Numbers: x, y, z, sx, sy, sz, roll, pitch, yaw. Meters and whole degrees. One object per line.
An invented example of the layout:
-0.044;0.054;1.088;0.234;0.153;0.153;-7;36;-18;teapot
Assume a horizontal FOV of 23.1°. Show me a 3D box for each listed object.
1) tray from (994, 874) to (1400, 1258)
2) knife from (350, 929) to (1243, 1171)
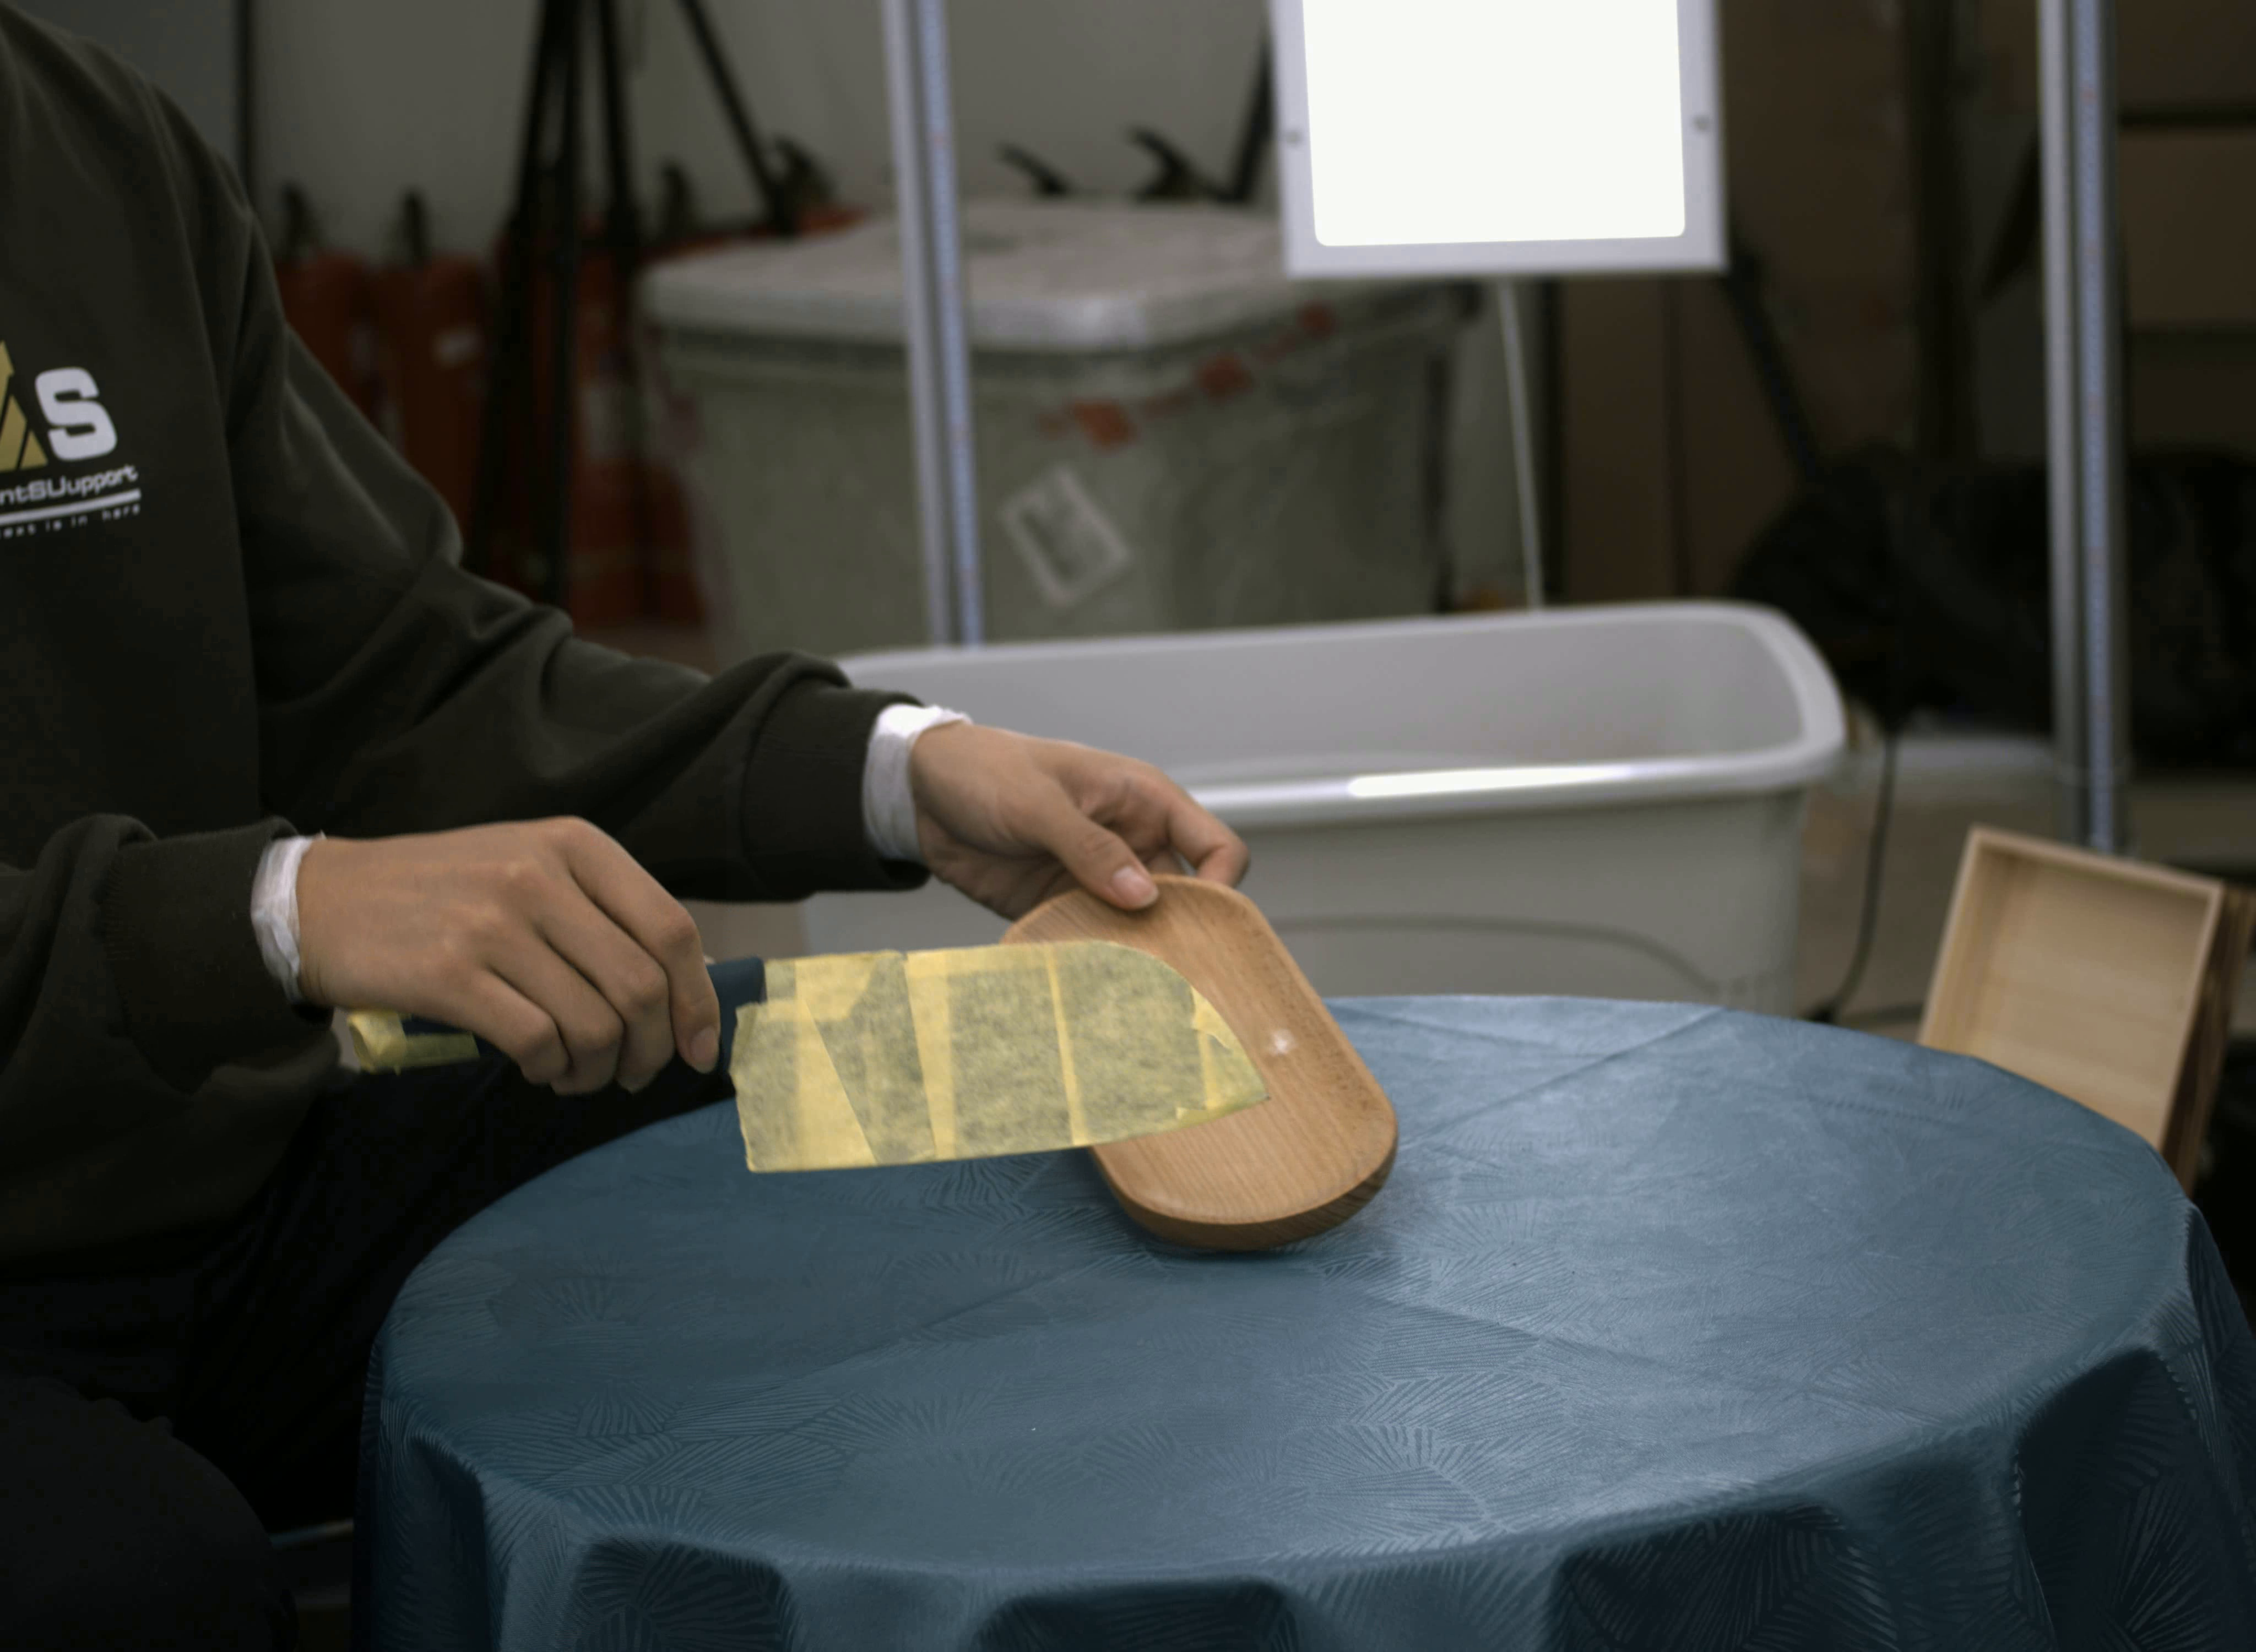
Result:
0.022;0.081;1.915;0.100;0.020;0.233;-18;34;-10;tray
-0.104;0.073;1.772;0.287;0.081;0.027;-2;-24;-6;knife
